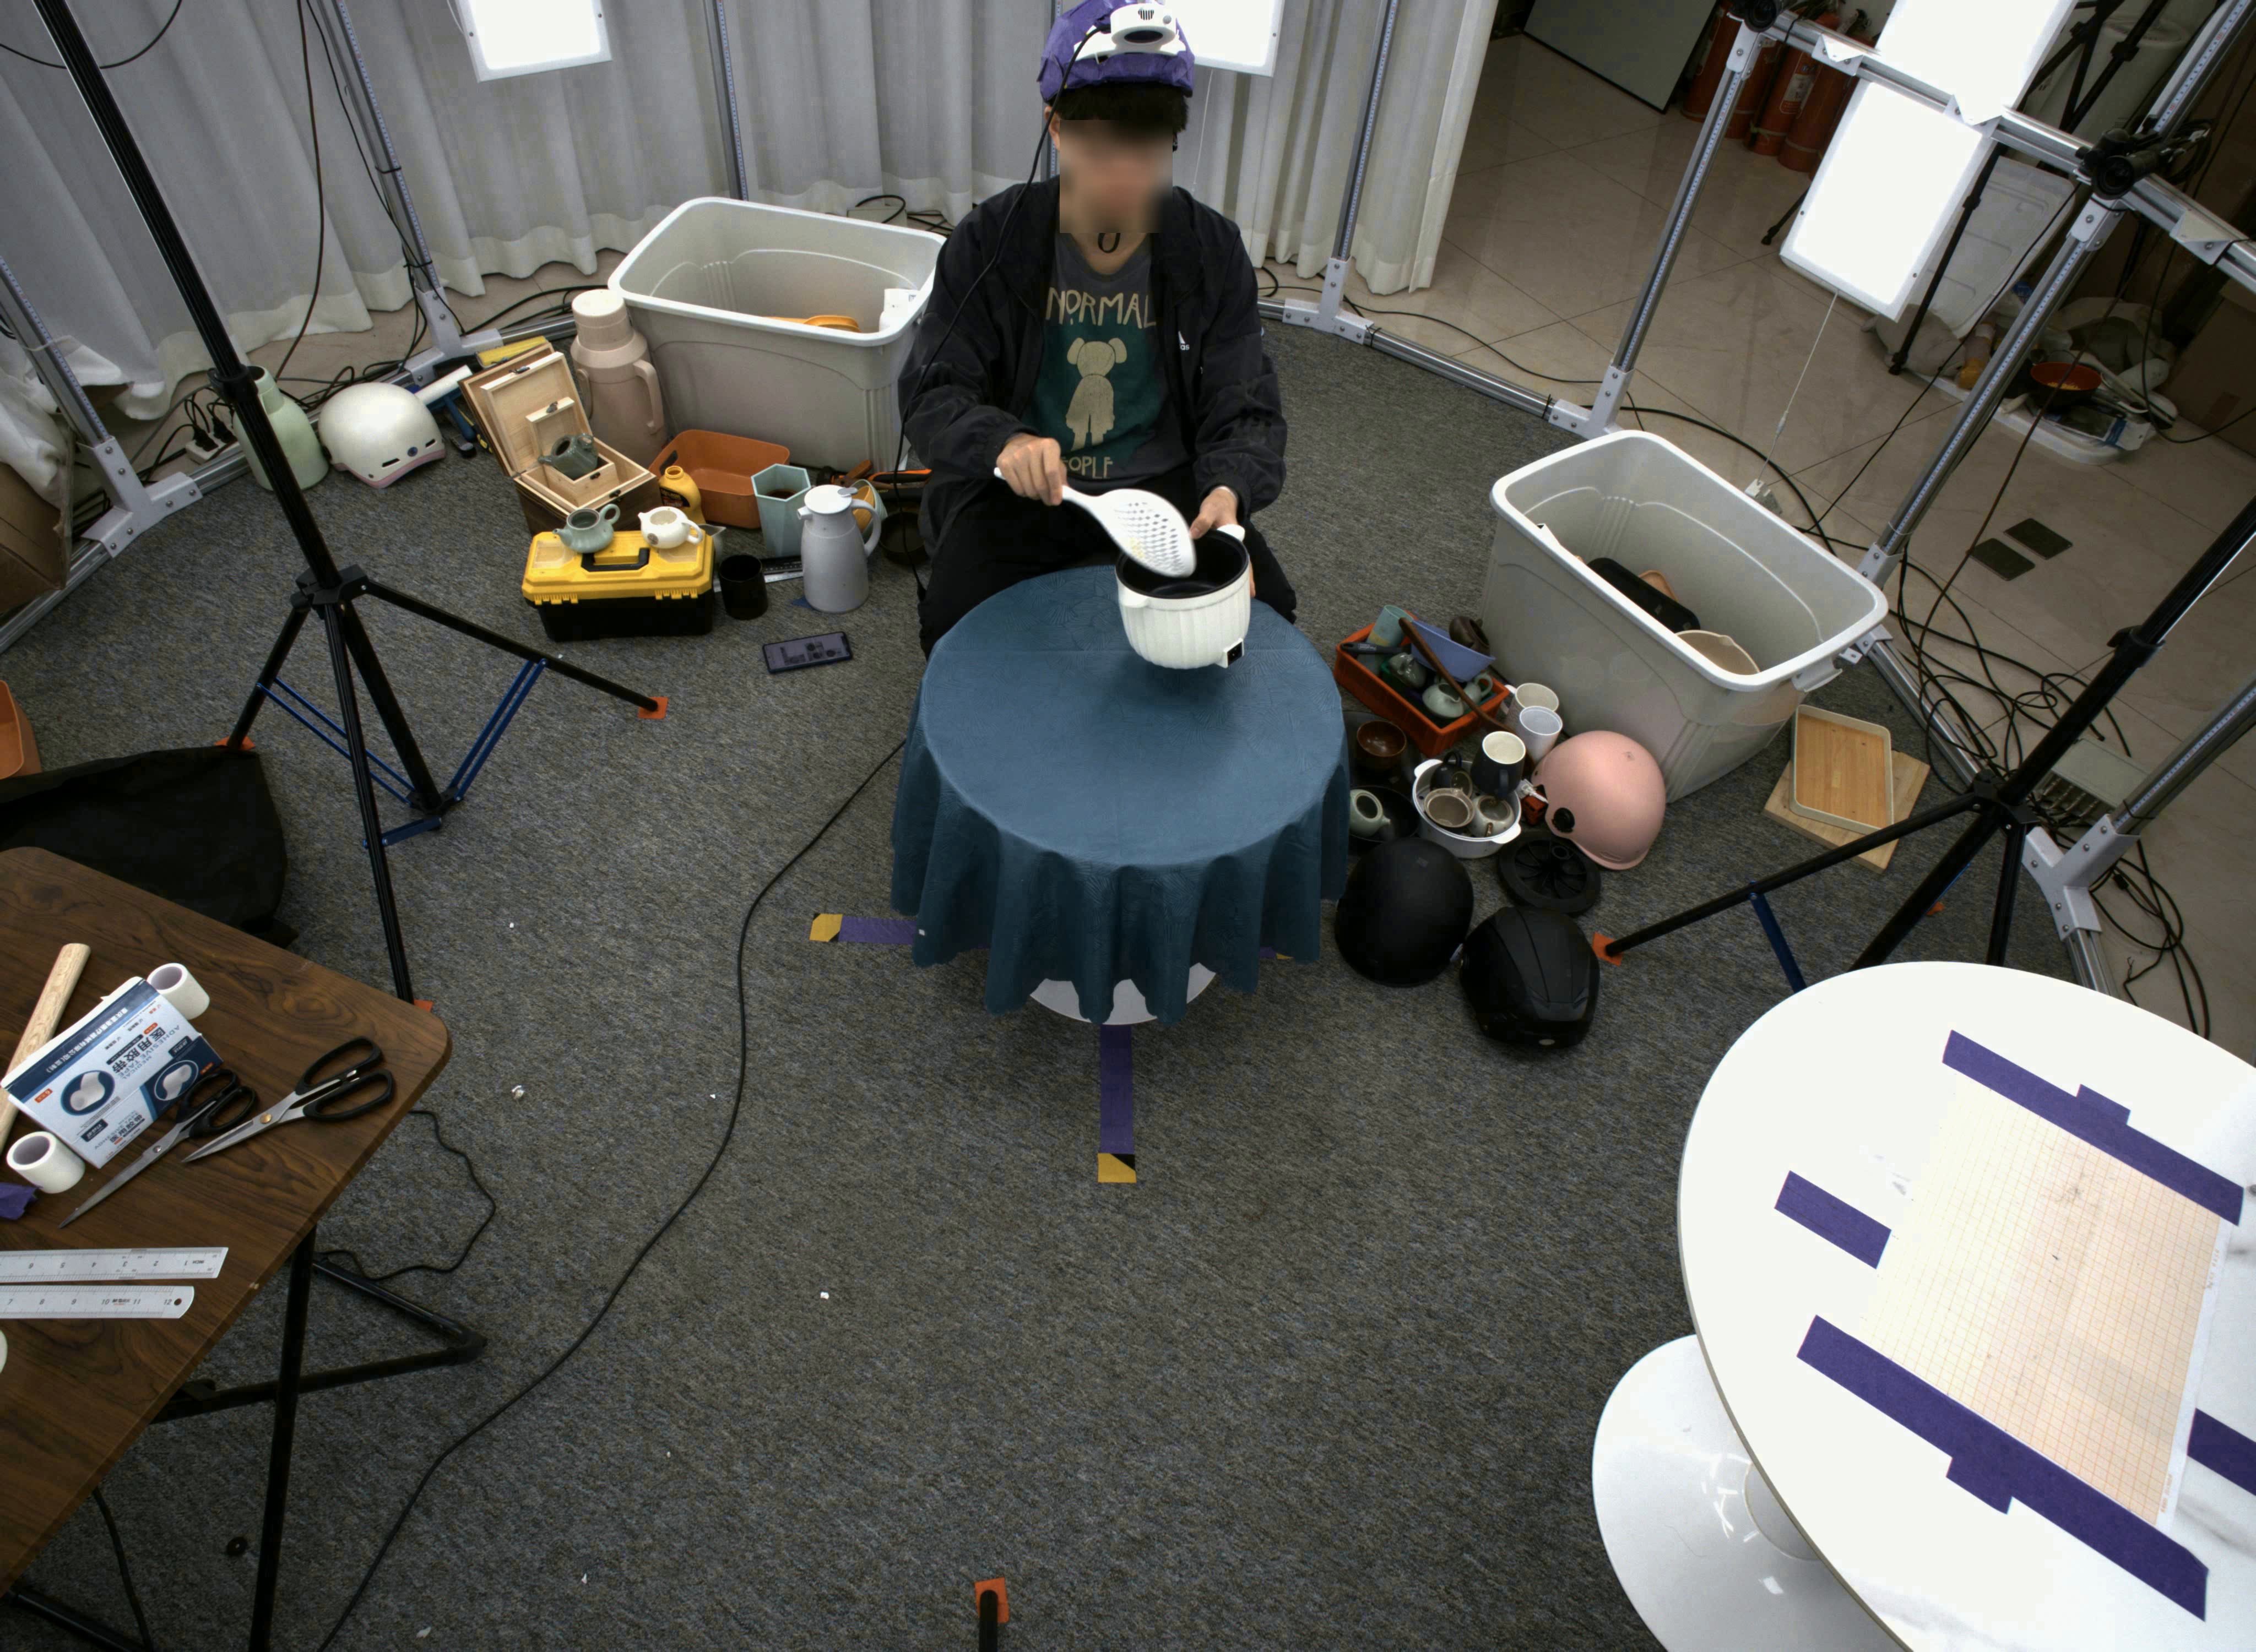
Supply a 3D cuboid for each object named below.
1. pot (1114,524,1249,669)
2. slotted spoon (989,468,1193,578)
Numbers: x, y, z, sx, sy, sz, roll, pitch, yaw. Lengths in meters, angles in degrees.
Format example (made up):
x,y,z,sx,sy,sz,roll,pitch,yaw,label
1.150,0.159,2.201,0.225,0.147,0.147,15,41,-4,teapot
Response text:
x,y,z,sx,sy,sz,roll,pitch,yaw,label
0.073,-0.311,1.780,0.193,0.139,0.242,31,52,33,pot
-0.055,-0.424,1.739,0.051,0.133,0.353,-42,55,-19,slotted spoon
